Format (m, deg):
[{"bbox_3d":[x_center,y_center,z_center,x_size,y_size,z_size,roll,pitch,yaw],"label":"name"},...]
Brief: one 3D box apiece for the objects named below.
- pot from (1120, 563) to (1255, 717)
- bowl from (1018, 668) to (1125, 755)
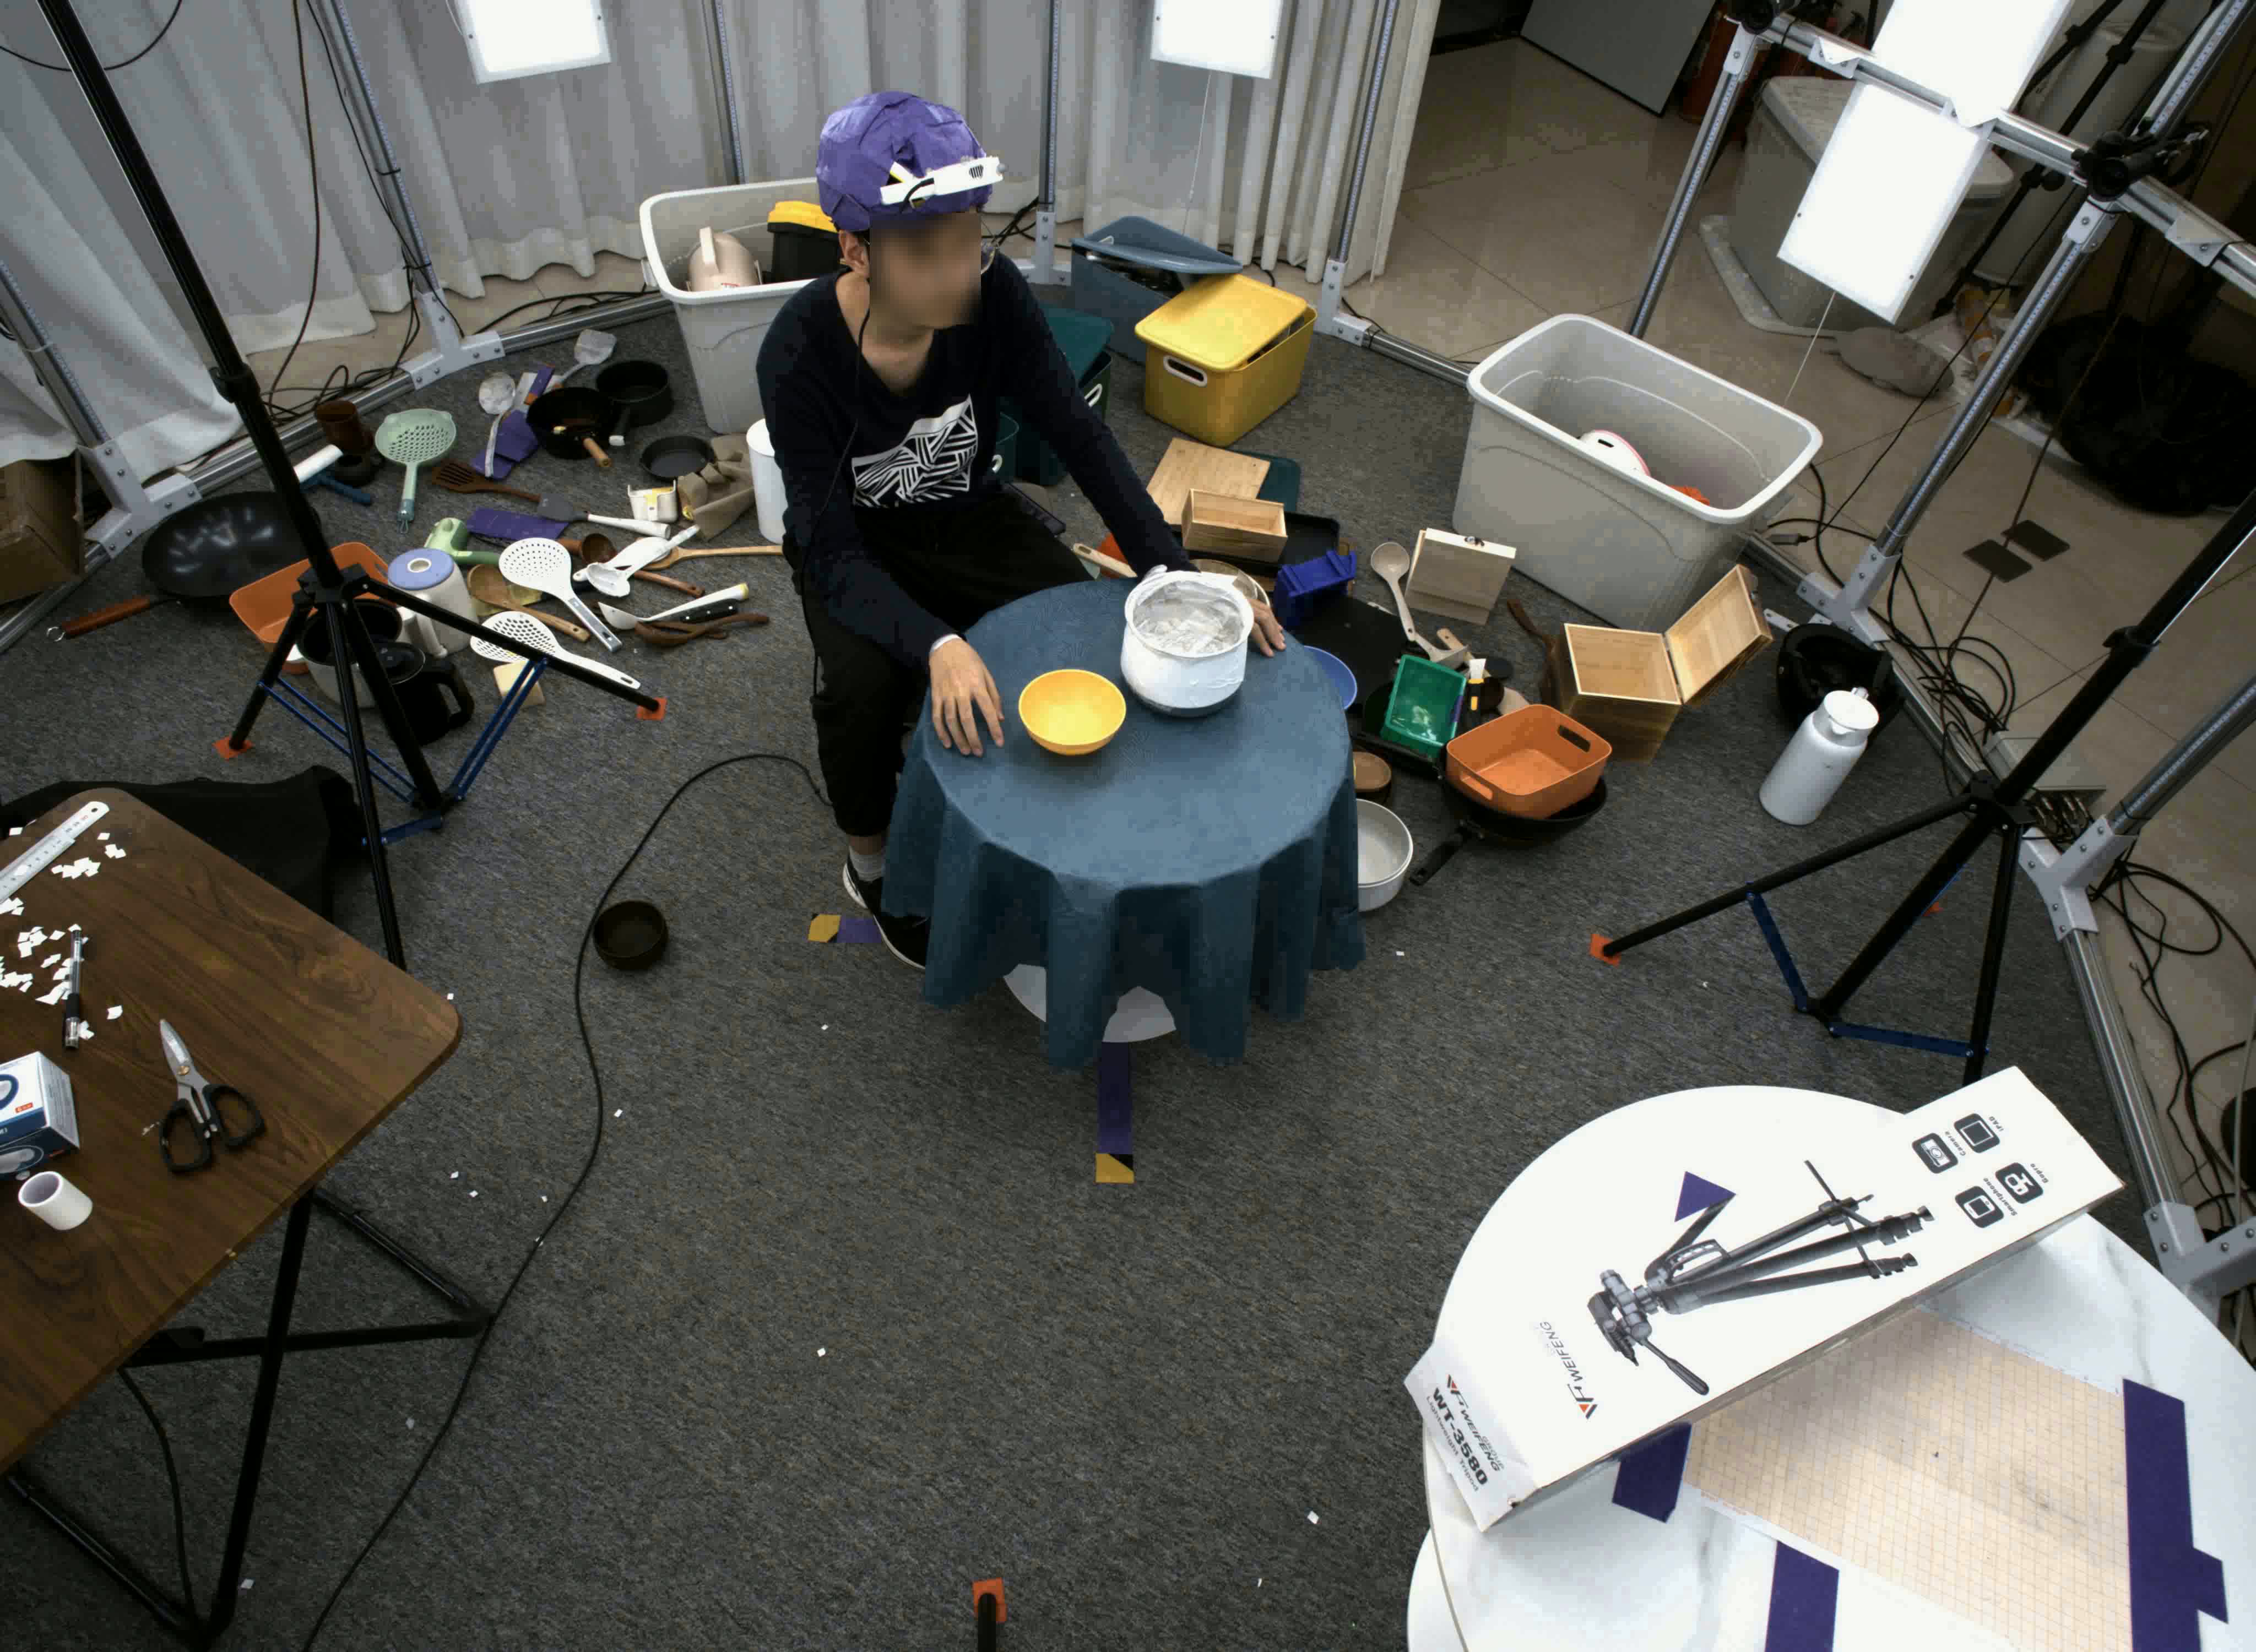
[{"bbox_3d":[0.069,-0.272,1.819,0.179,0.133,0.239,-14,52,-19],"label":"pot"},{"bbox_3d":[-0.079,-0.145,1.747,0.145,0.058,0.149,3,49,-4],"label":"bowl"}]
